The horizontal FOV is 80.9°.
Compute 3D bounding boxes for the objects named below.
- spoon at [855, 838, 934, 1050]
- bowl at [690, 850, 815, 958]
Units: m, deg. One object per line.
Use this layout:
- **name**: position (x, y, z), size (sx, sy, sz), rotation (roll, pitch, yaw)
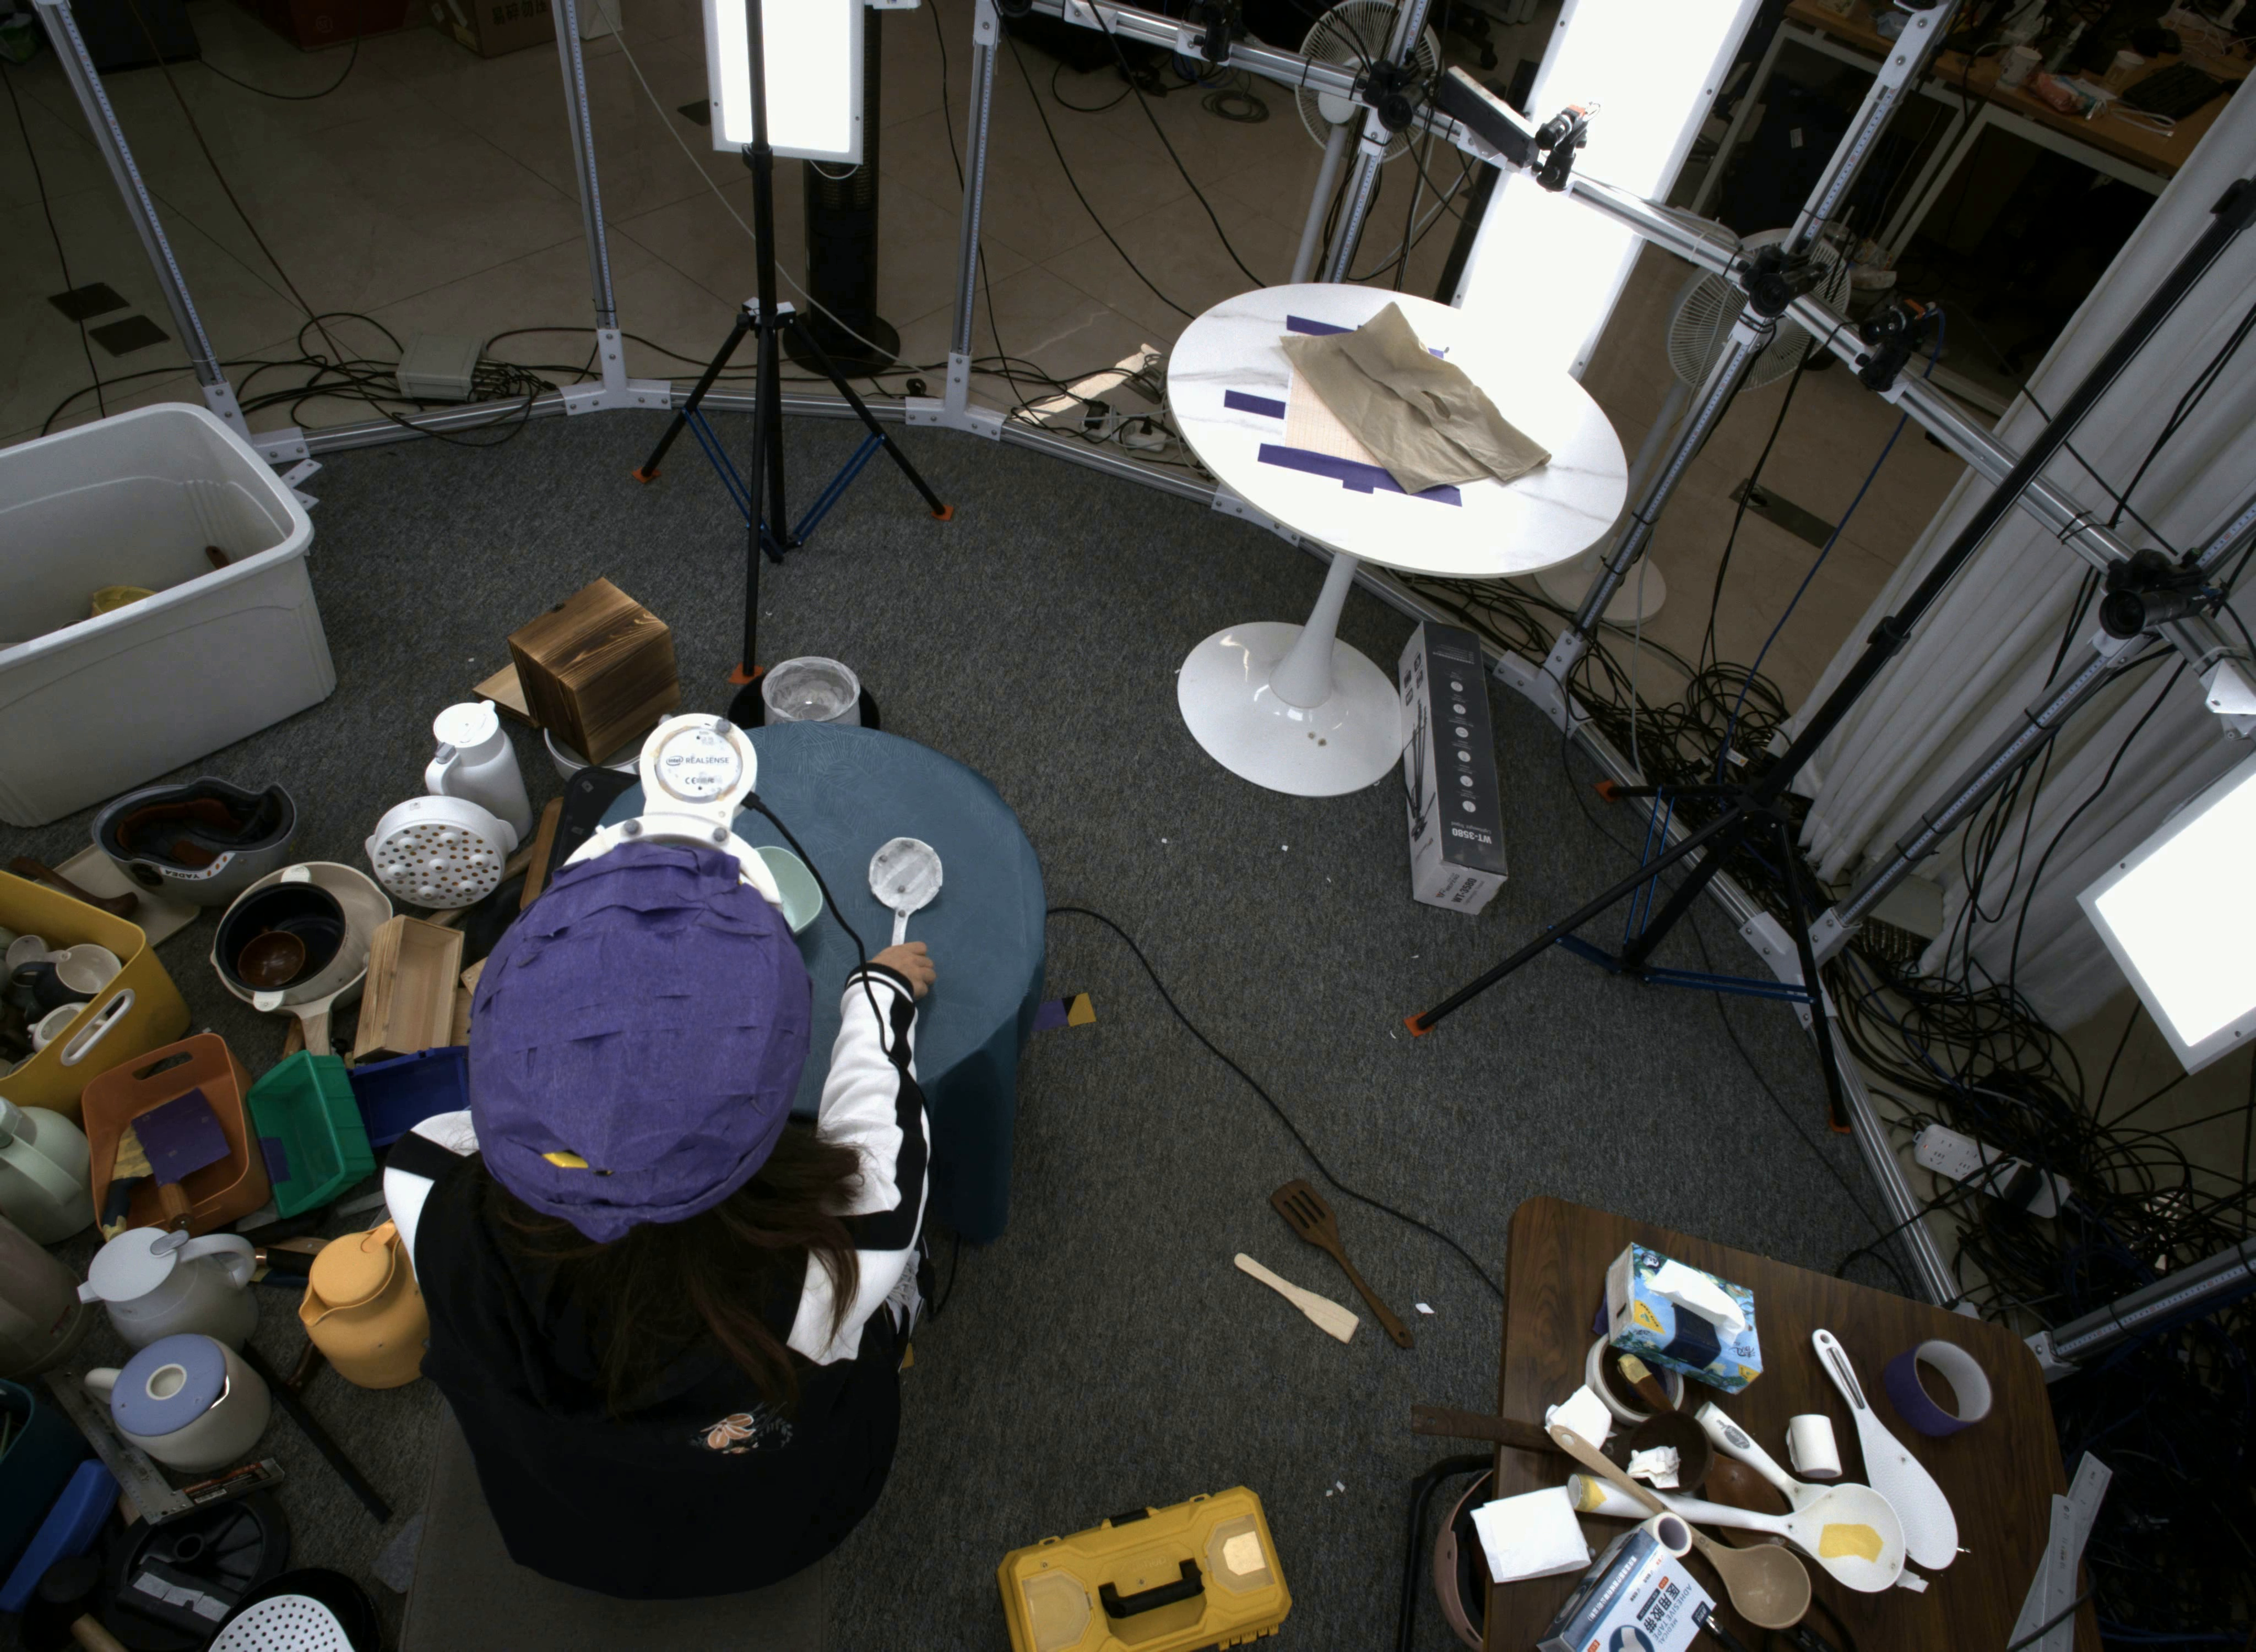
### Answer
- **spoon**: position (-0.306, 0.139, 1.609), size (0.100, 0.061, 0.273), rotation (6, 52, -2)
- **bowl**: position (-0.462, 0.105, 1.595), size (0.151, 0.060, 0.148), rotation (8, 51, -8)
